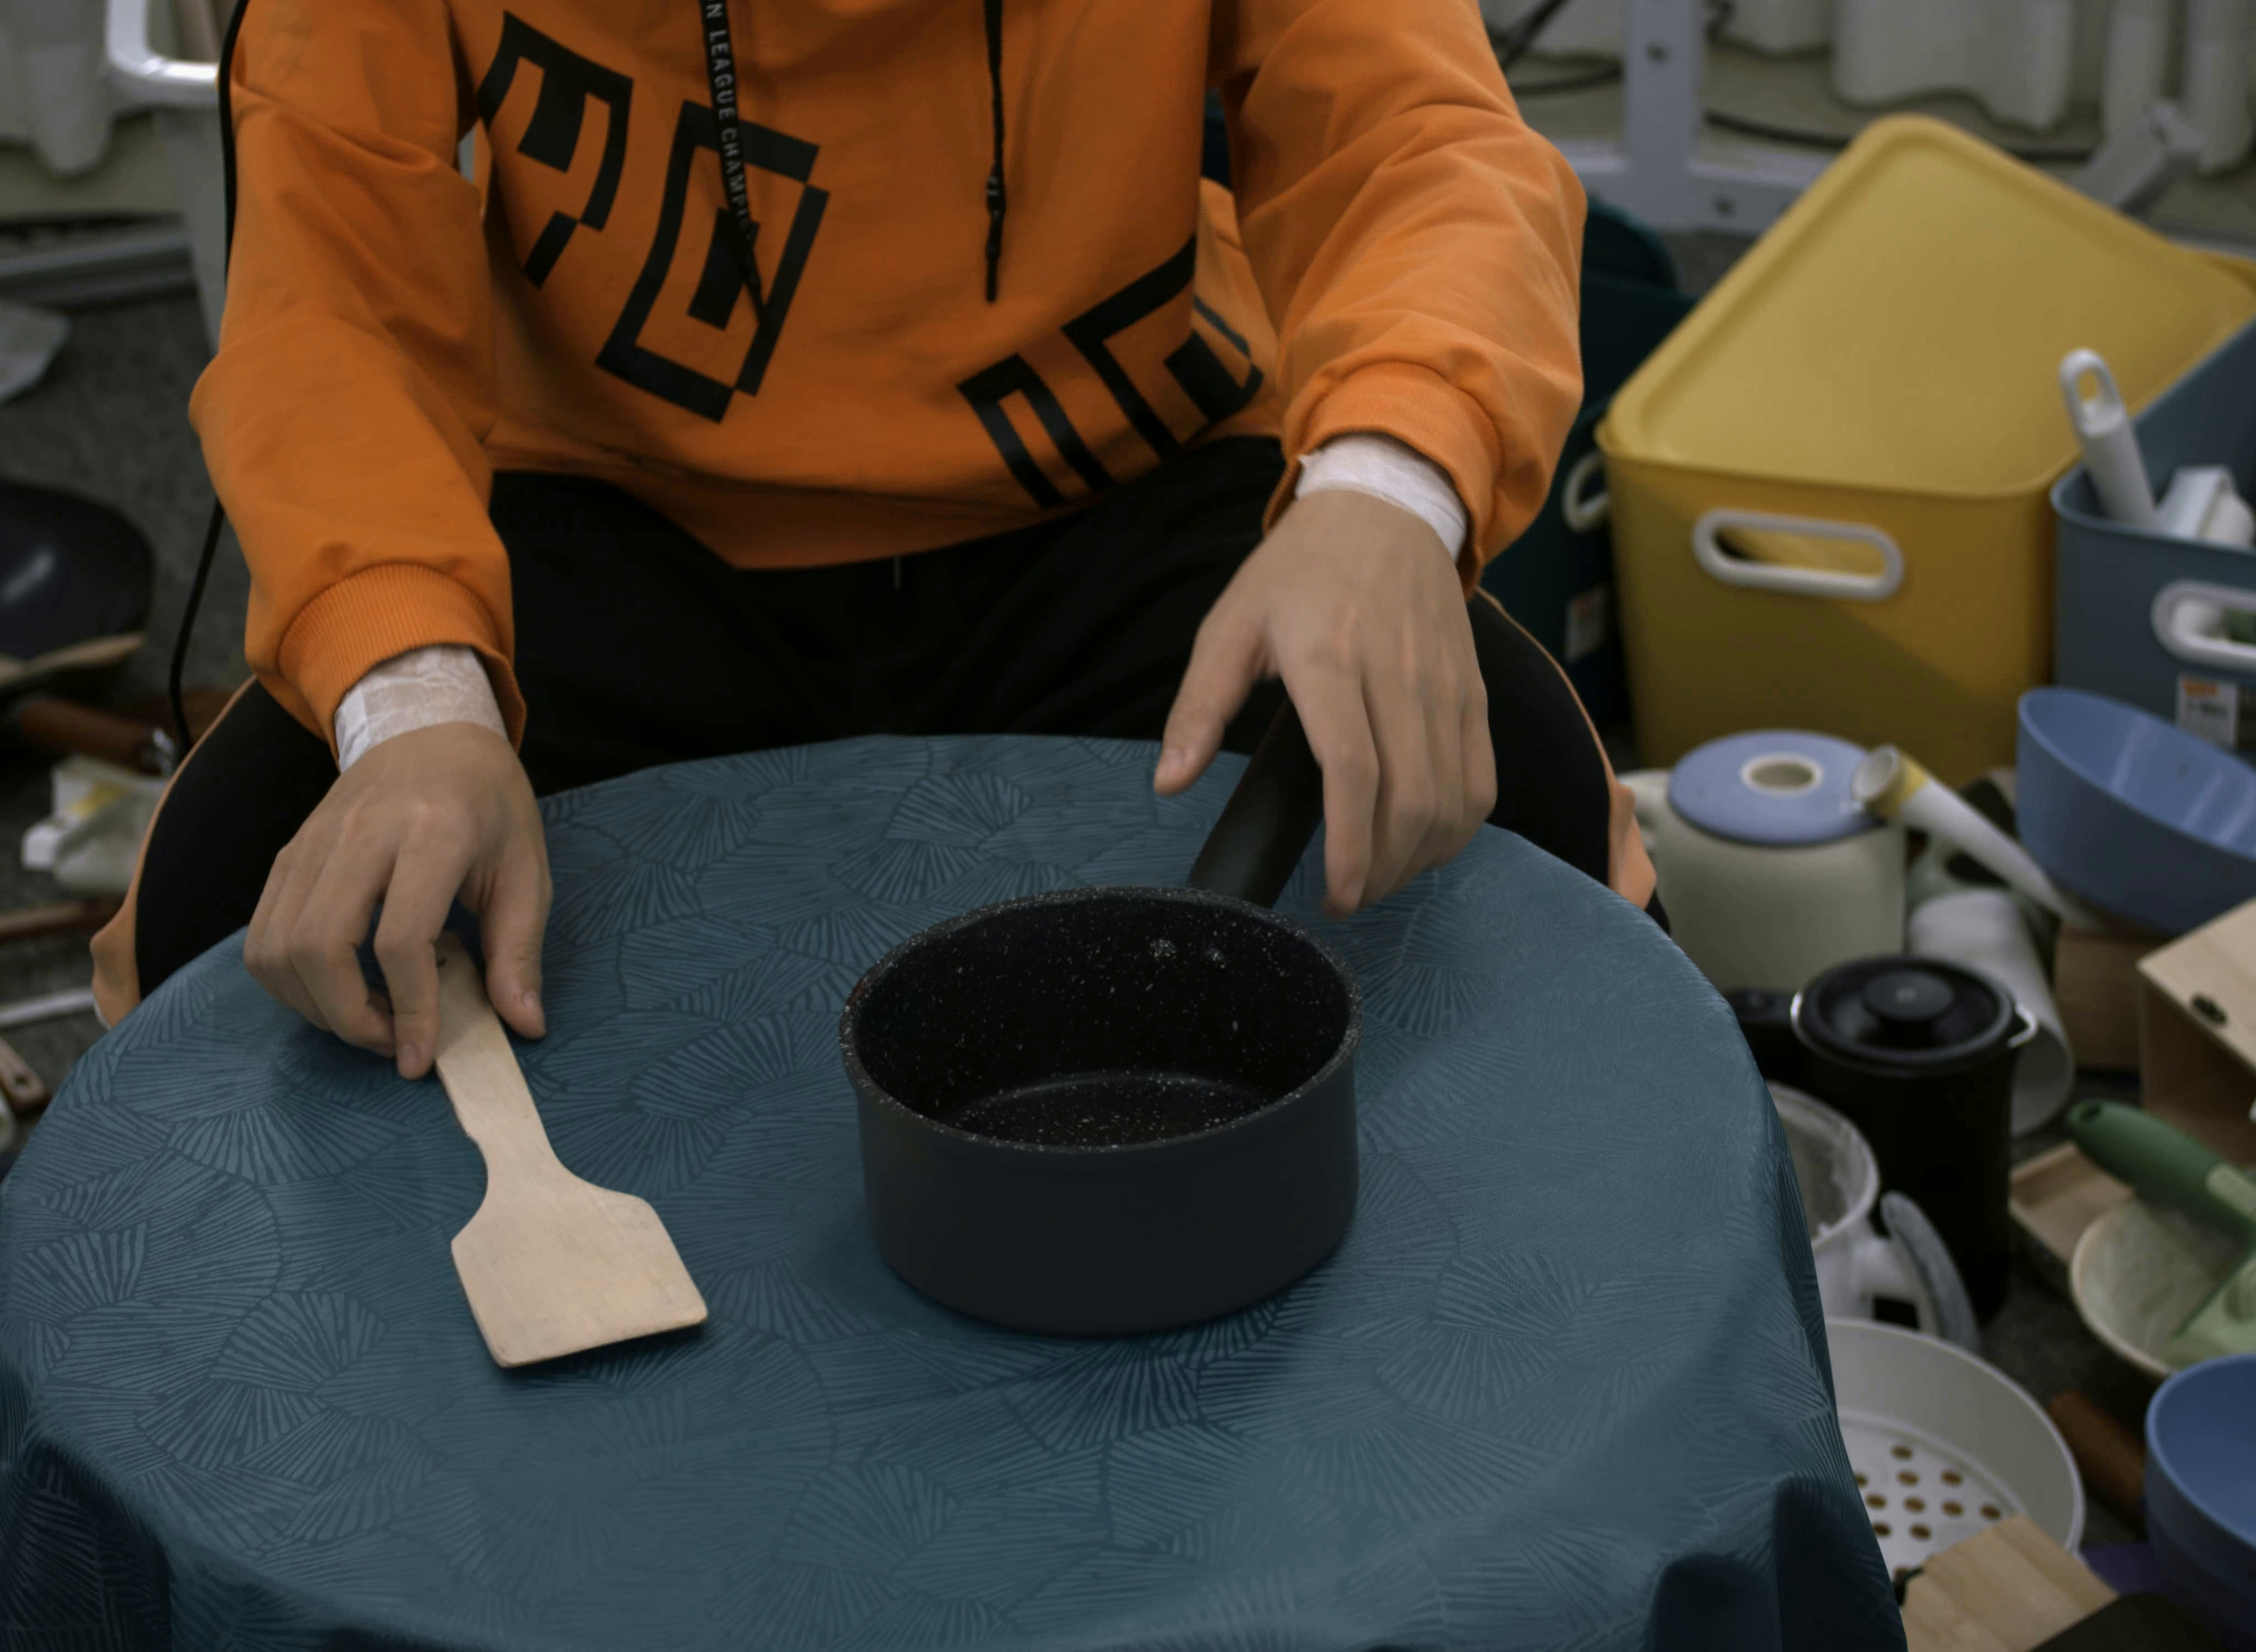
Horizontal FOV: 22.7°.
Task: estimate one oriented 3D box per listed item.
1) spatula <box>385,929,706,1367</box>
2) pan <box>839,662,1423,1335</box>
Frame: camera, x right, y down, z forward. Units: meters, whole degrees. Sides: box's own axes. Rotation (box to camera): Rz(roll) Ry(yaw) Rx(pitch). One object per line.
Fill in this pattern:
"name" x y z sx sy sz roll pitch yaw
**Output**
"spatula" -0.212 0.104 1.907 0.072 0.010 0.295 -14 29 -14
"pan" 0.025 0.054 1.899 0.171 0.085 0.334 9 31 22
